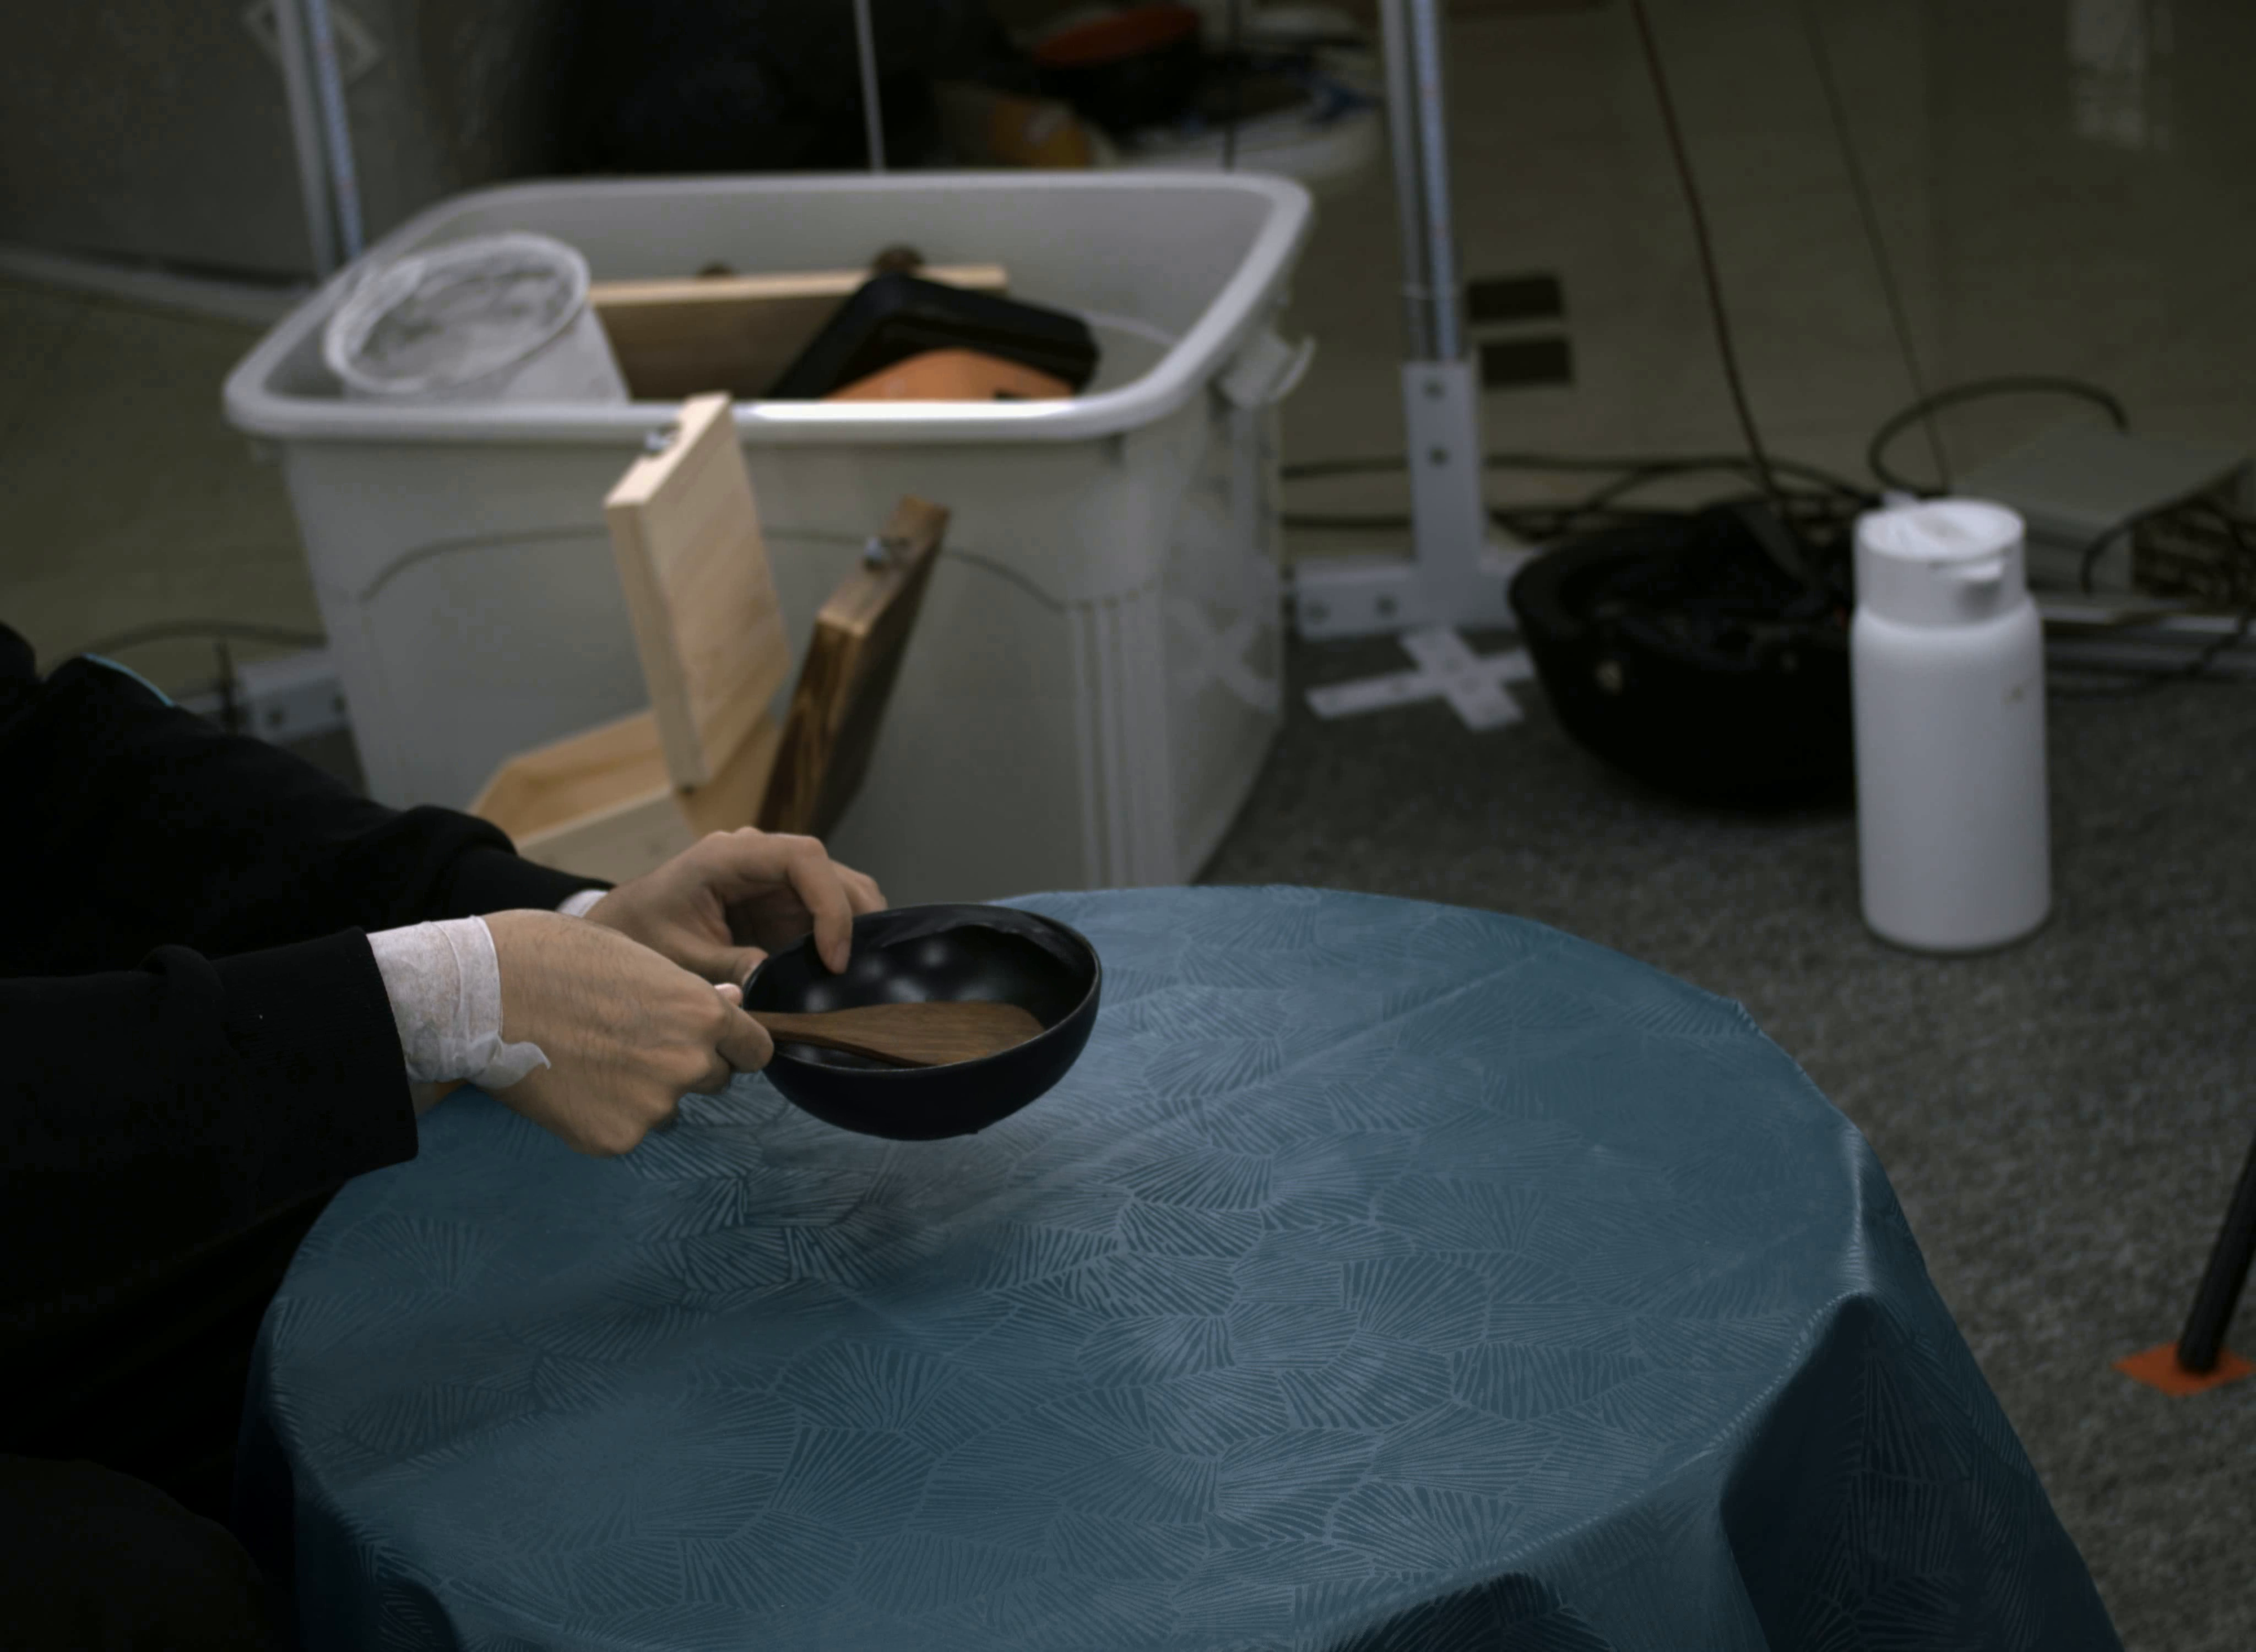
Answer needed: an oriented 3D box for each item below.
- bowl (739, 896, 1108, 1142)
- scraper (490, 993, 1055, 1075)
[{"bbox_3d":[-0.076,0.081,2.144,0.140,0.050,0.138,-4,29,2],"label":"bowl"},{"bbox_3d":[-0.133,0.075,2.108,0.211,0.011,0.075,5,16,-17],"label":"scraper"}]
